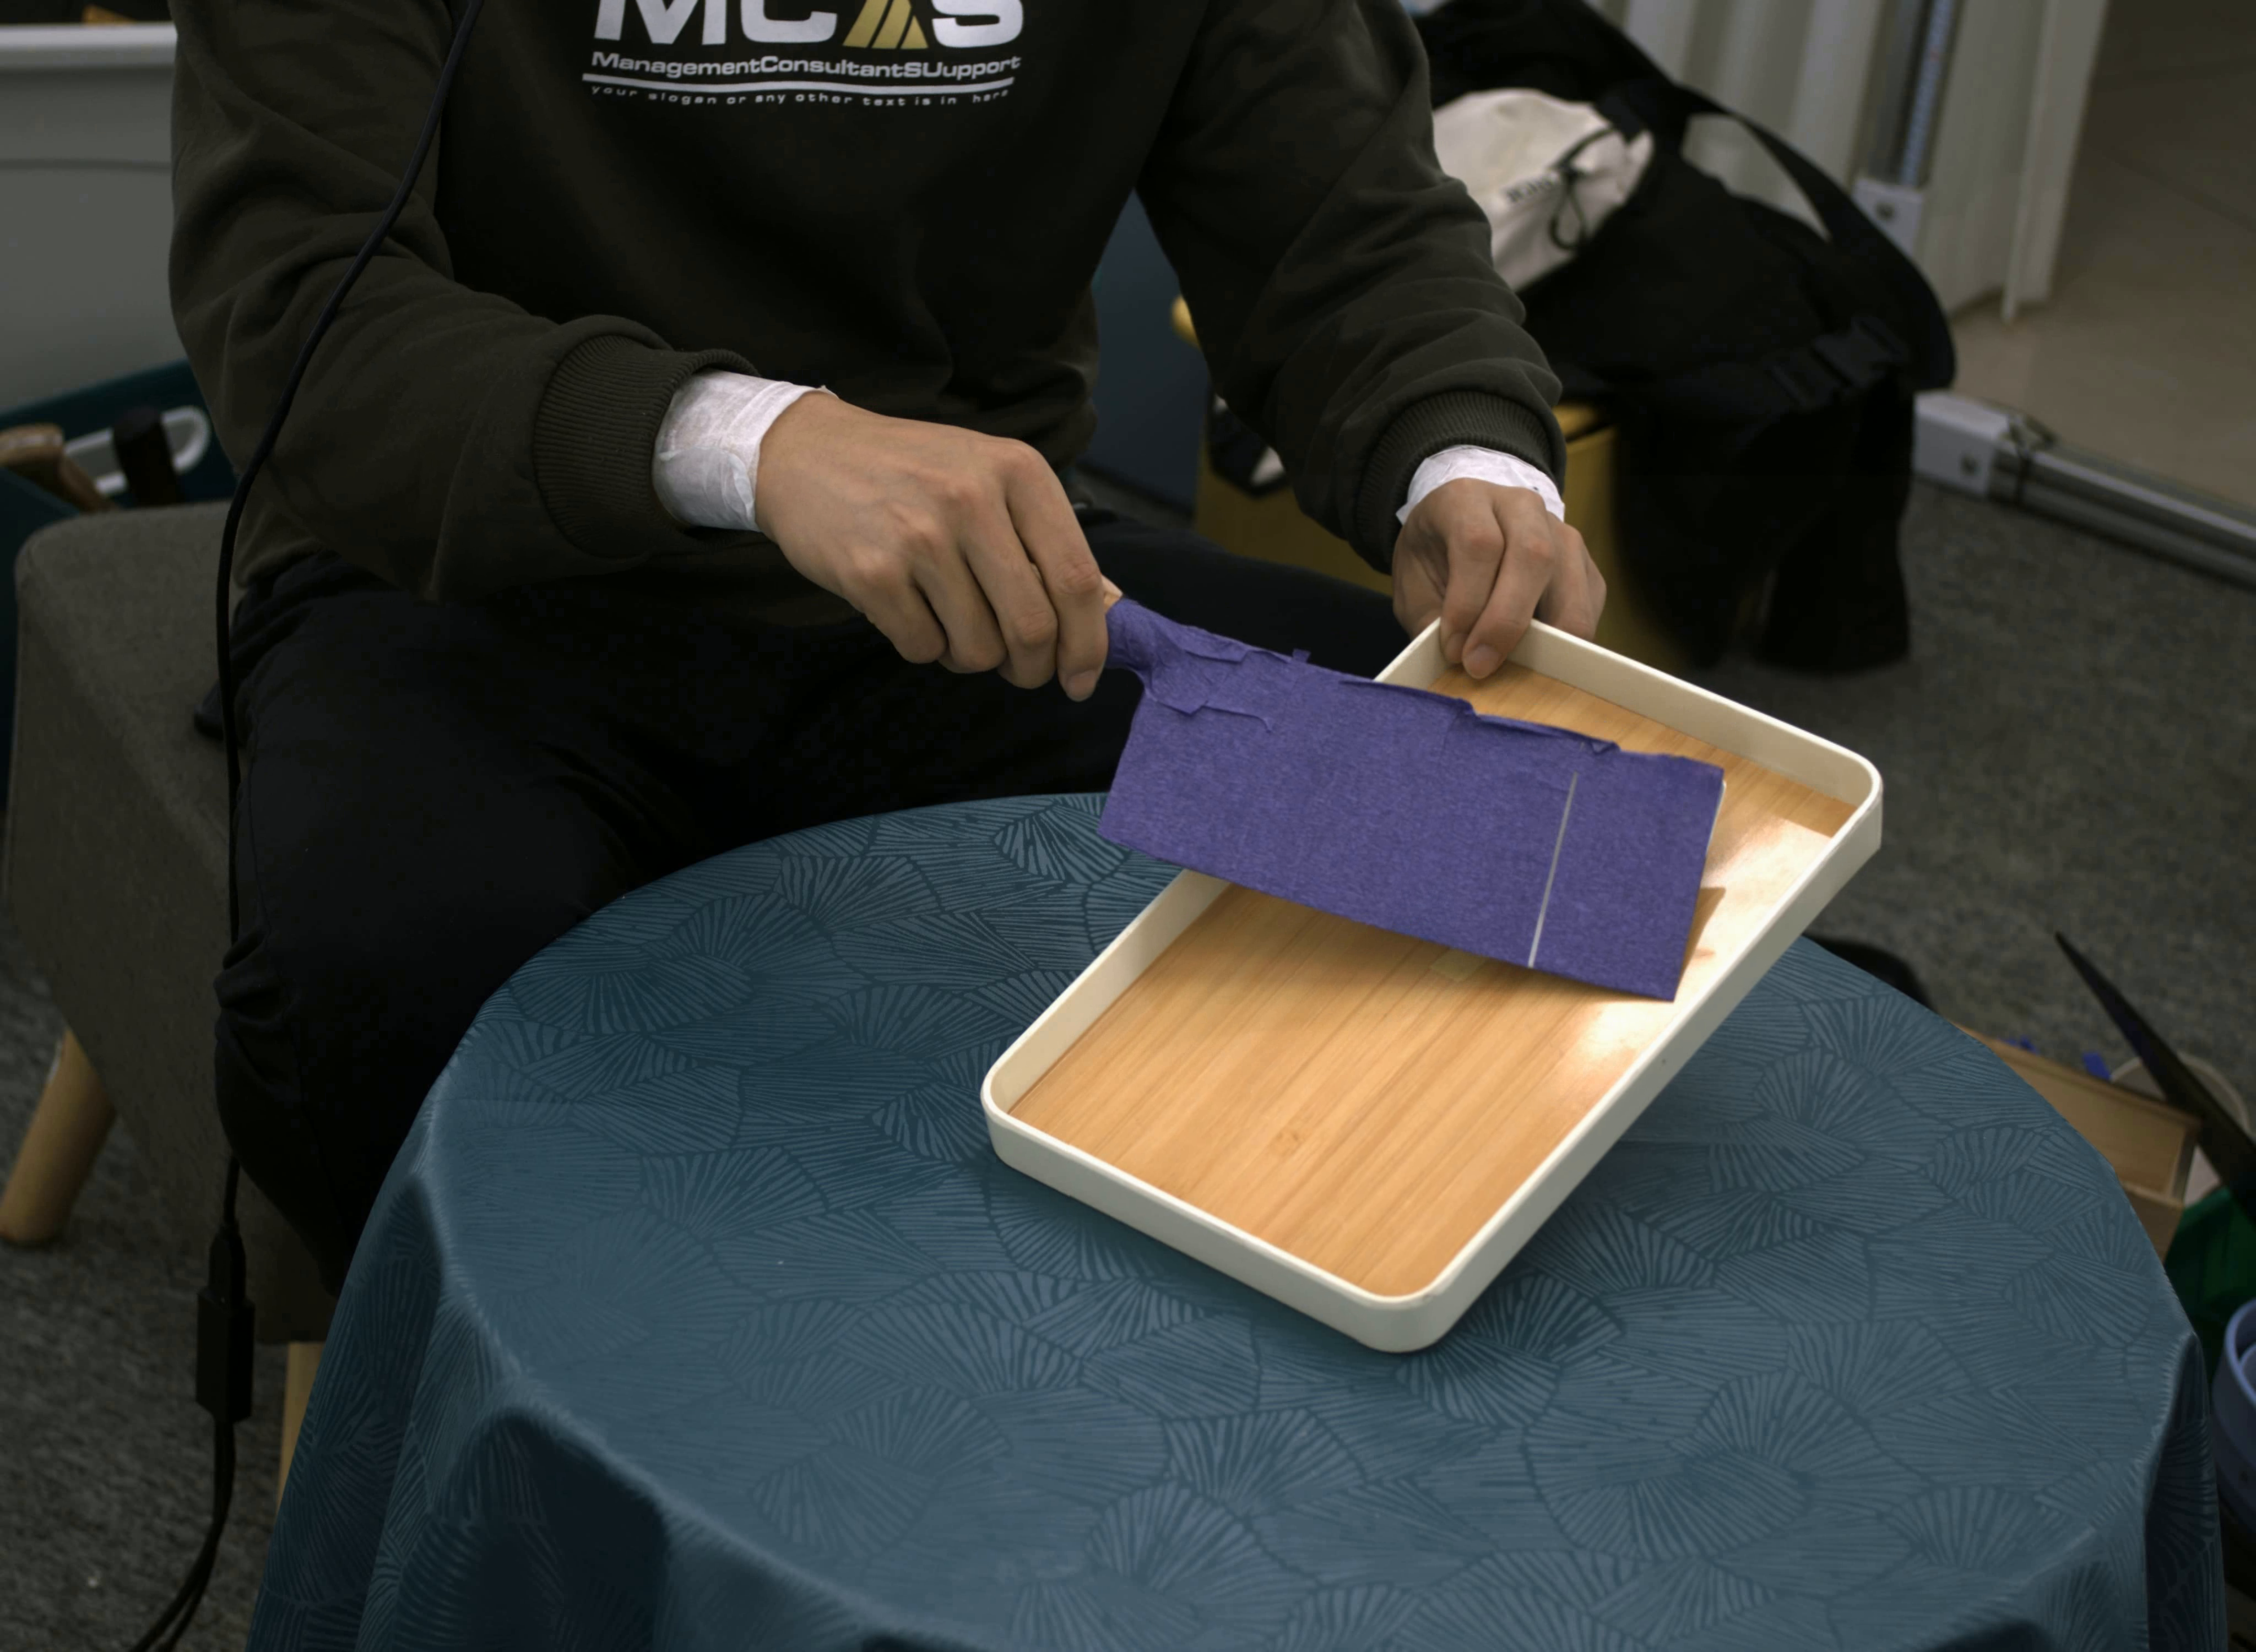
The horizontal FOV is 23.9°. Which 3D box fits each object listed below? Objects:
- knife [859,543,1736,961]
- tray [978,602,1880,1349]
[{"bbox_3d":[0.051,-0.025,1.854,0.315,0.032,0.104,14,64,7],"label":"knife"},{"bbox_3d":[0.107,0.045,1.841,0.193,0.027,0.300,24,53,32],"label":"tray"}]
